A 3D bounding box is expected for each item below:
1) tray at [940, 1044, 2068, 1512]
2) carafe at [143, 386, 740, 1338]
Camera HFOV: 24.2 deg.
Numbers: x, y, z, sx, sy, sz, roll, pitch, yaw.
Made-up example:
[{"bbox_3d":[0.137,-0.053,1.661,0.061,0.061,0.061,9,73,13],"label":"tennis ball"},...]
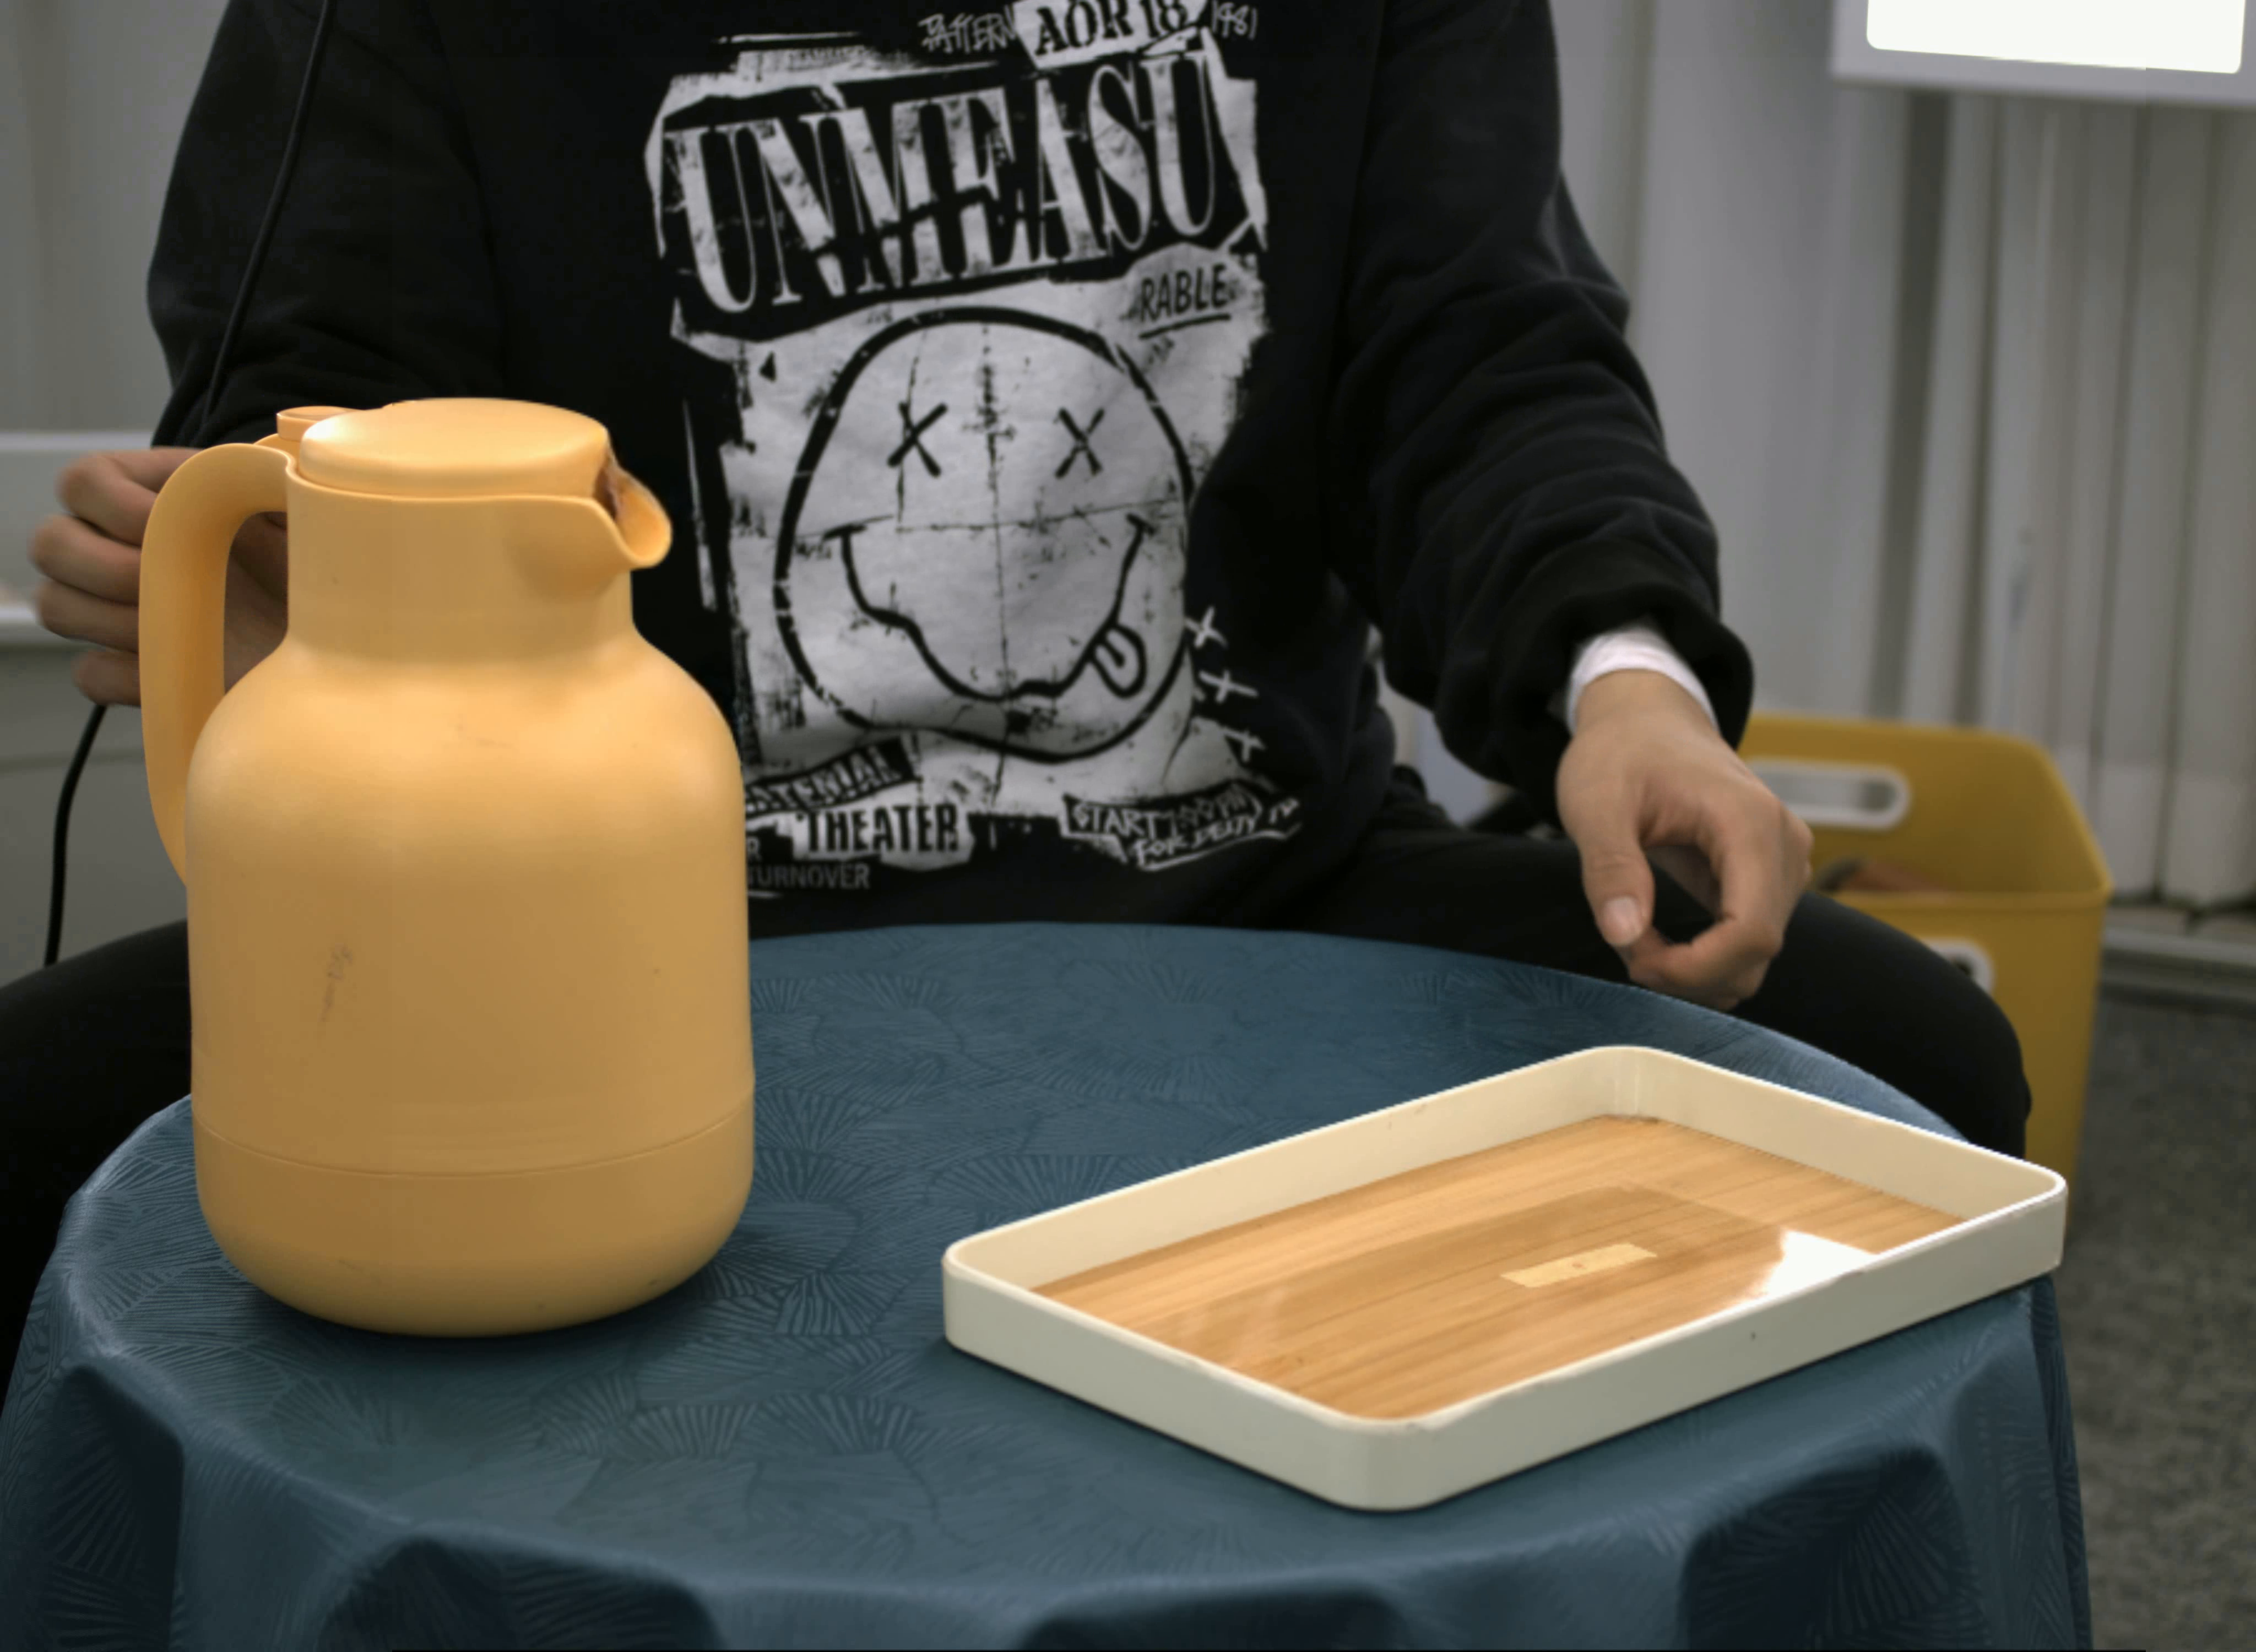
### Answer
[{"bbox_3d":[0.112,0.125,1.529,0.302,0.027,0.189,-13,21,-41],"label":"tray"},{"bbox_3d":[-0.206,0.002,1.522,0.200,0.262,0.164,15,19,37],"label":"carafe"}]
